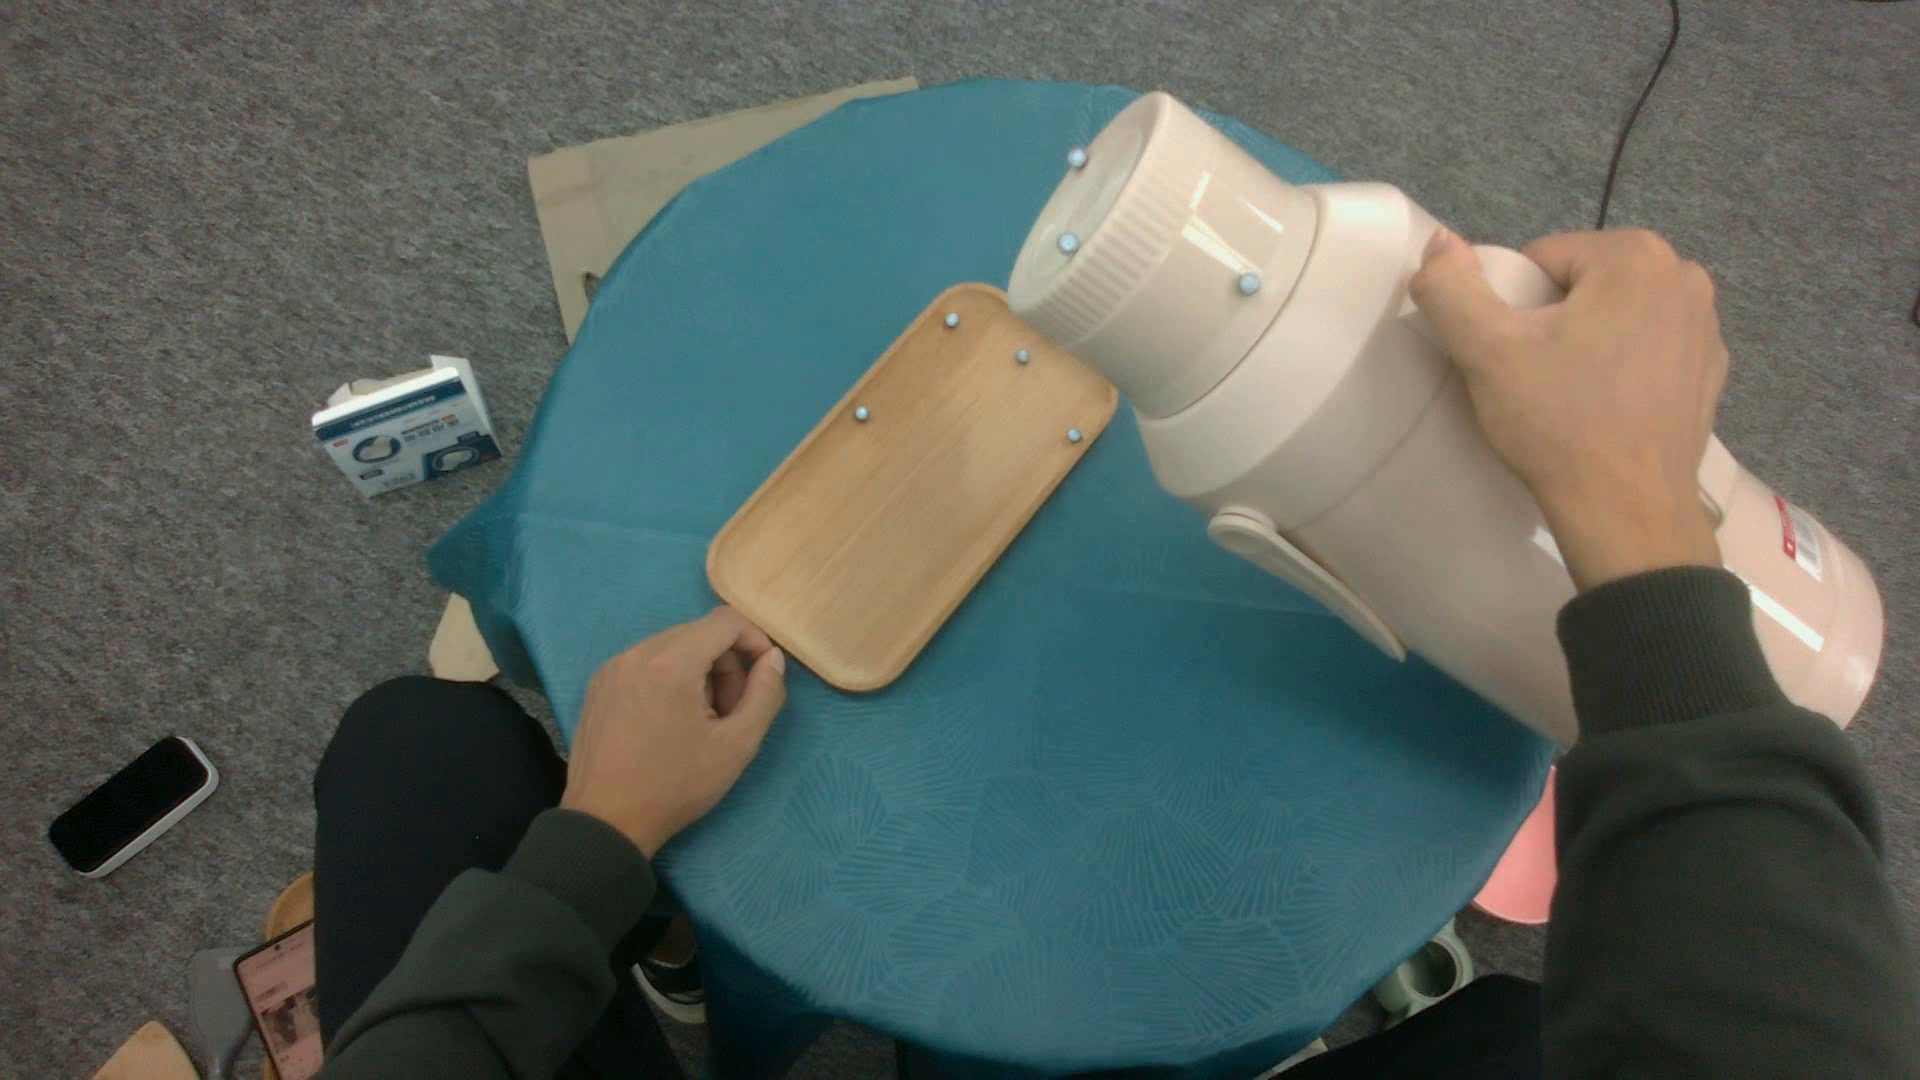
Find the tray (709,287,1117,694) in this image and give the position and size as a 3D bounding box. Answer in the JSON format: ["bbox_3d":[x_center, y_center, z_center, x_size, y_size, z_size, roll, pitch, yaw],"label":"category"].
[{"bbox_3d":[-0.023,-0.033,0.786,0.130,0.023,0.251,36,71,12],"label":"tray"}]

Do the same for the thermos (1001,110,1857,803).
[{"bbox_3d":[0.217,-0.037,0.621,0.406,0.206,0.176,32,70,-17],"label":"thermos"}]
